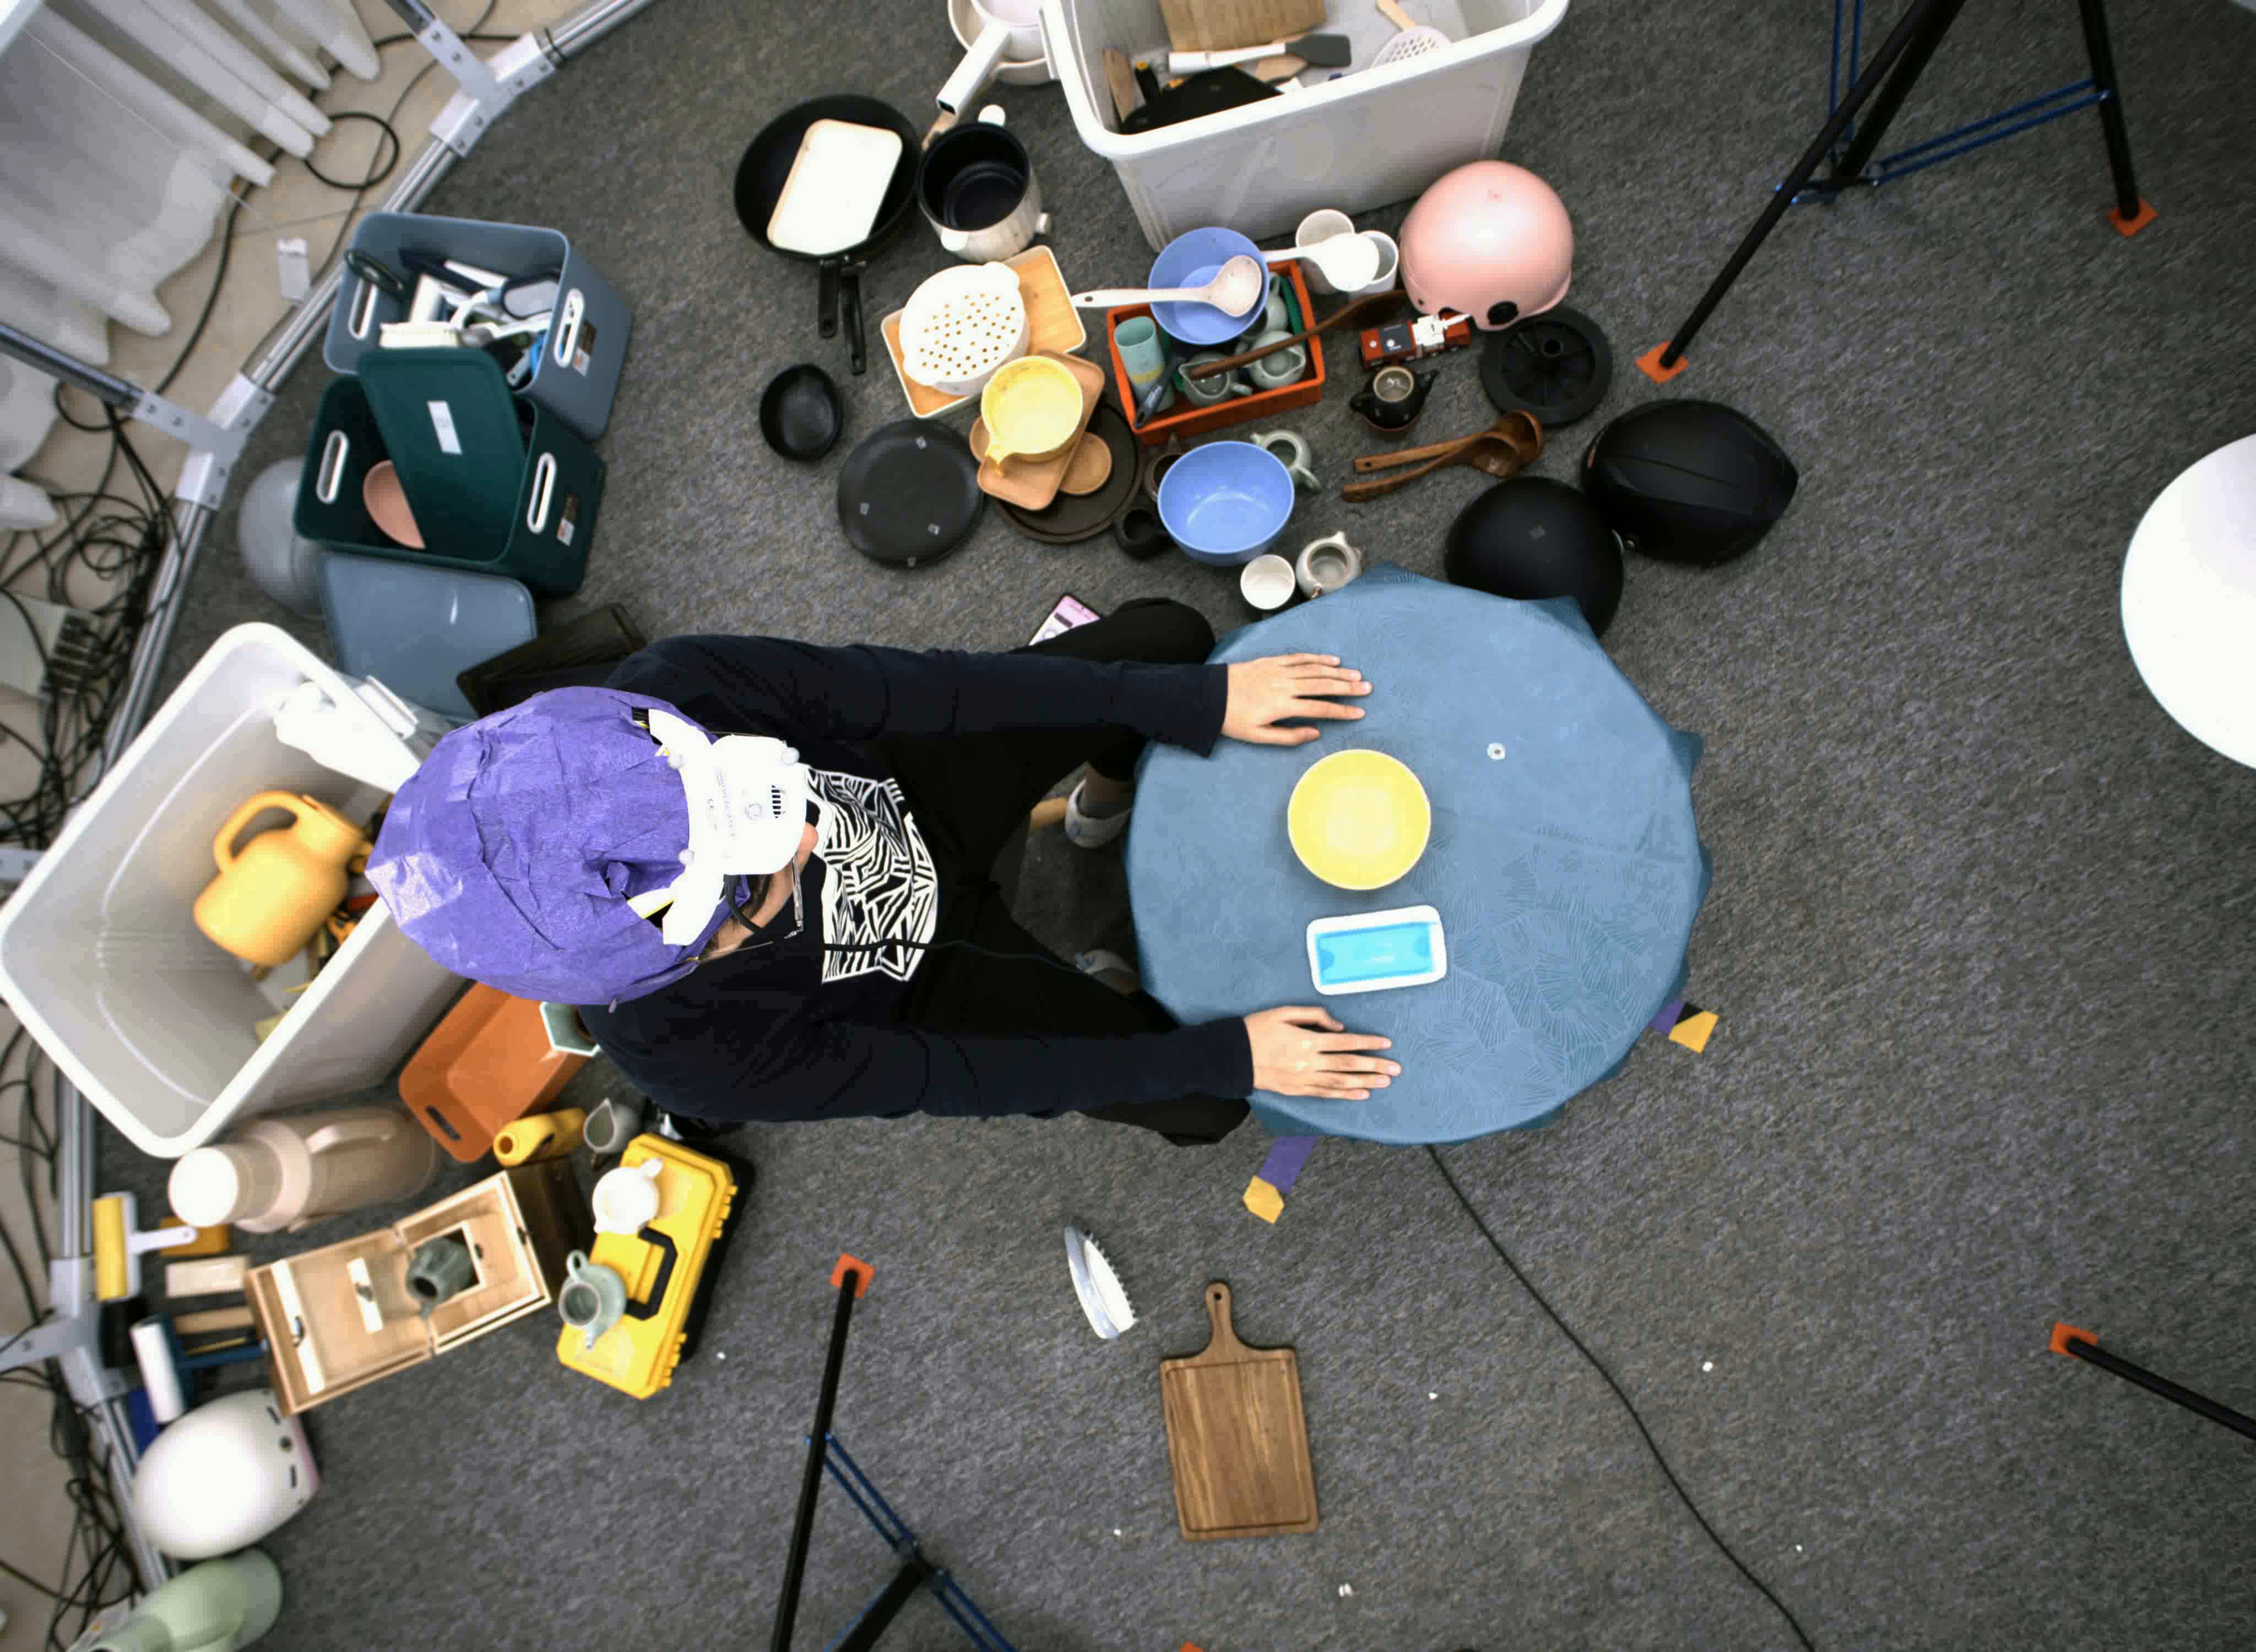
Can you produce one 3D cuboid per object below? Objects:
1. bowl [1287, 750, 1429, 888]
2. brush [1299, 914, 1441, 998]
[{"bbox_3d":[0.239,-0.006,1.440,0.146,0.060,0.144,-1,86,9],"label":"bowl"},{"bbox_3d":[0.249,0.130,1.428,0.144,0.056,0.083,-6,82,8],"label":"brush"}]
